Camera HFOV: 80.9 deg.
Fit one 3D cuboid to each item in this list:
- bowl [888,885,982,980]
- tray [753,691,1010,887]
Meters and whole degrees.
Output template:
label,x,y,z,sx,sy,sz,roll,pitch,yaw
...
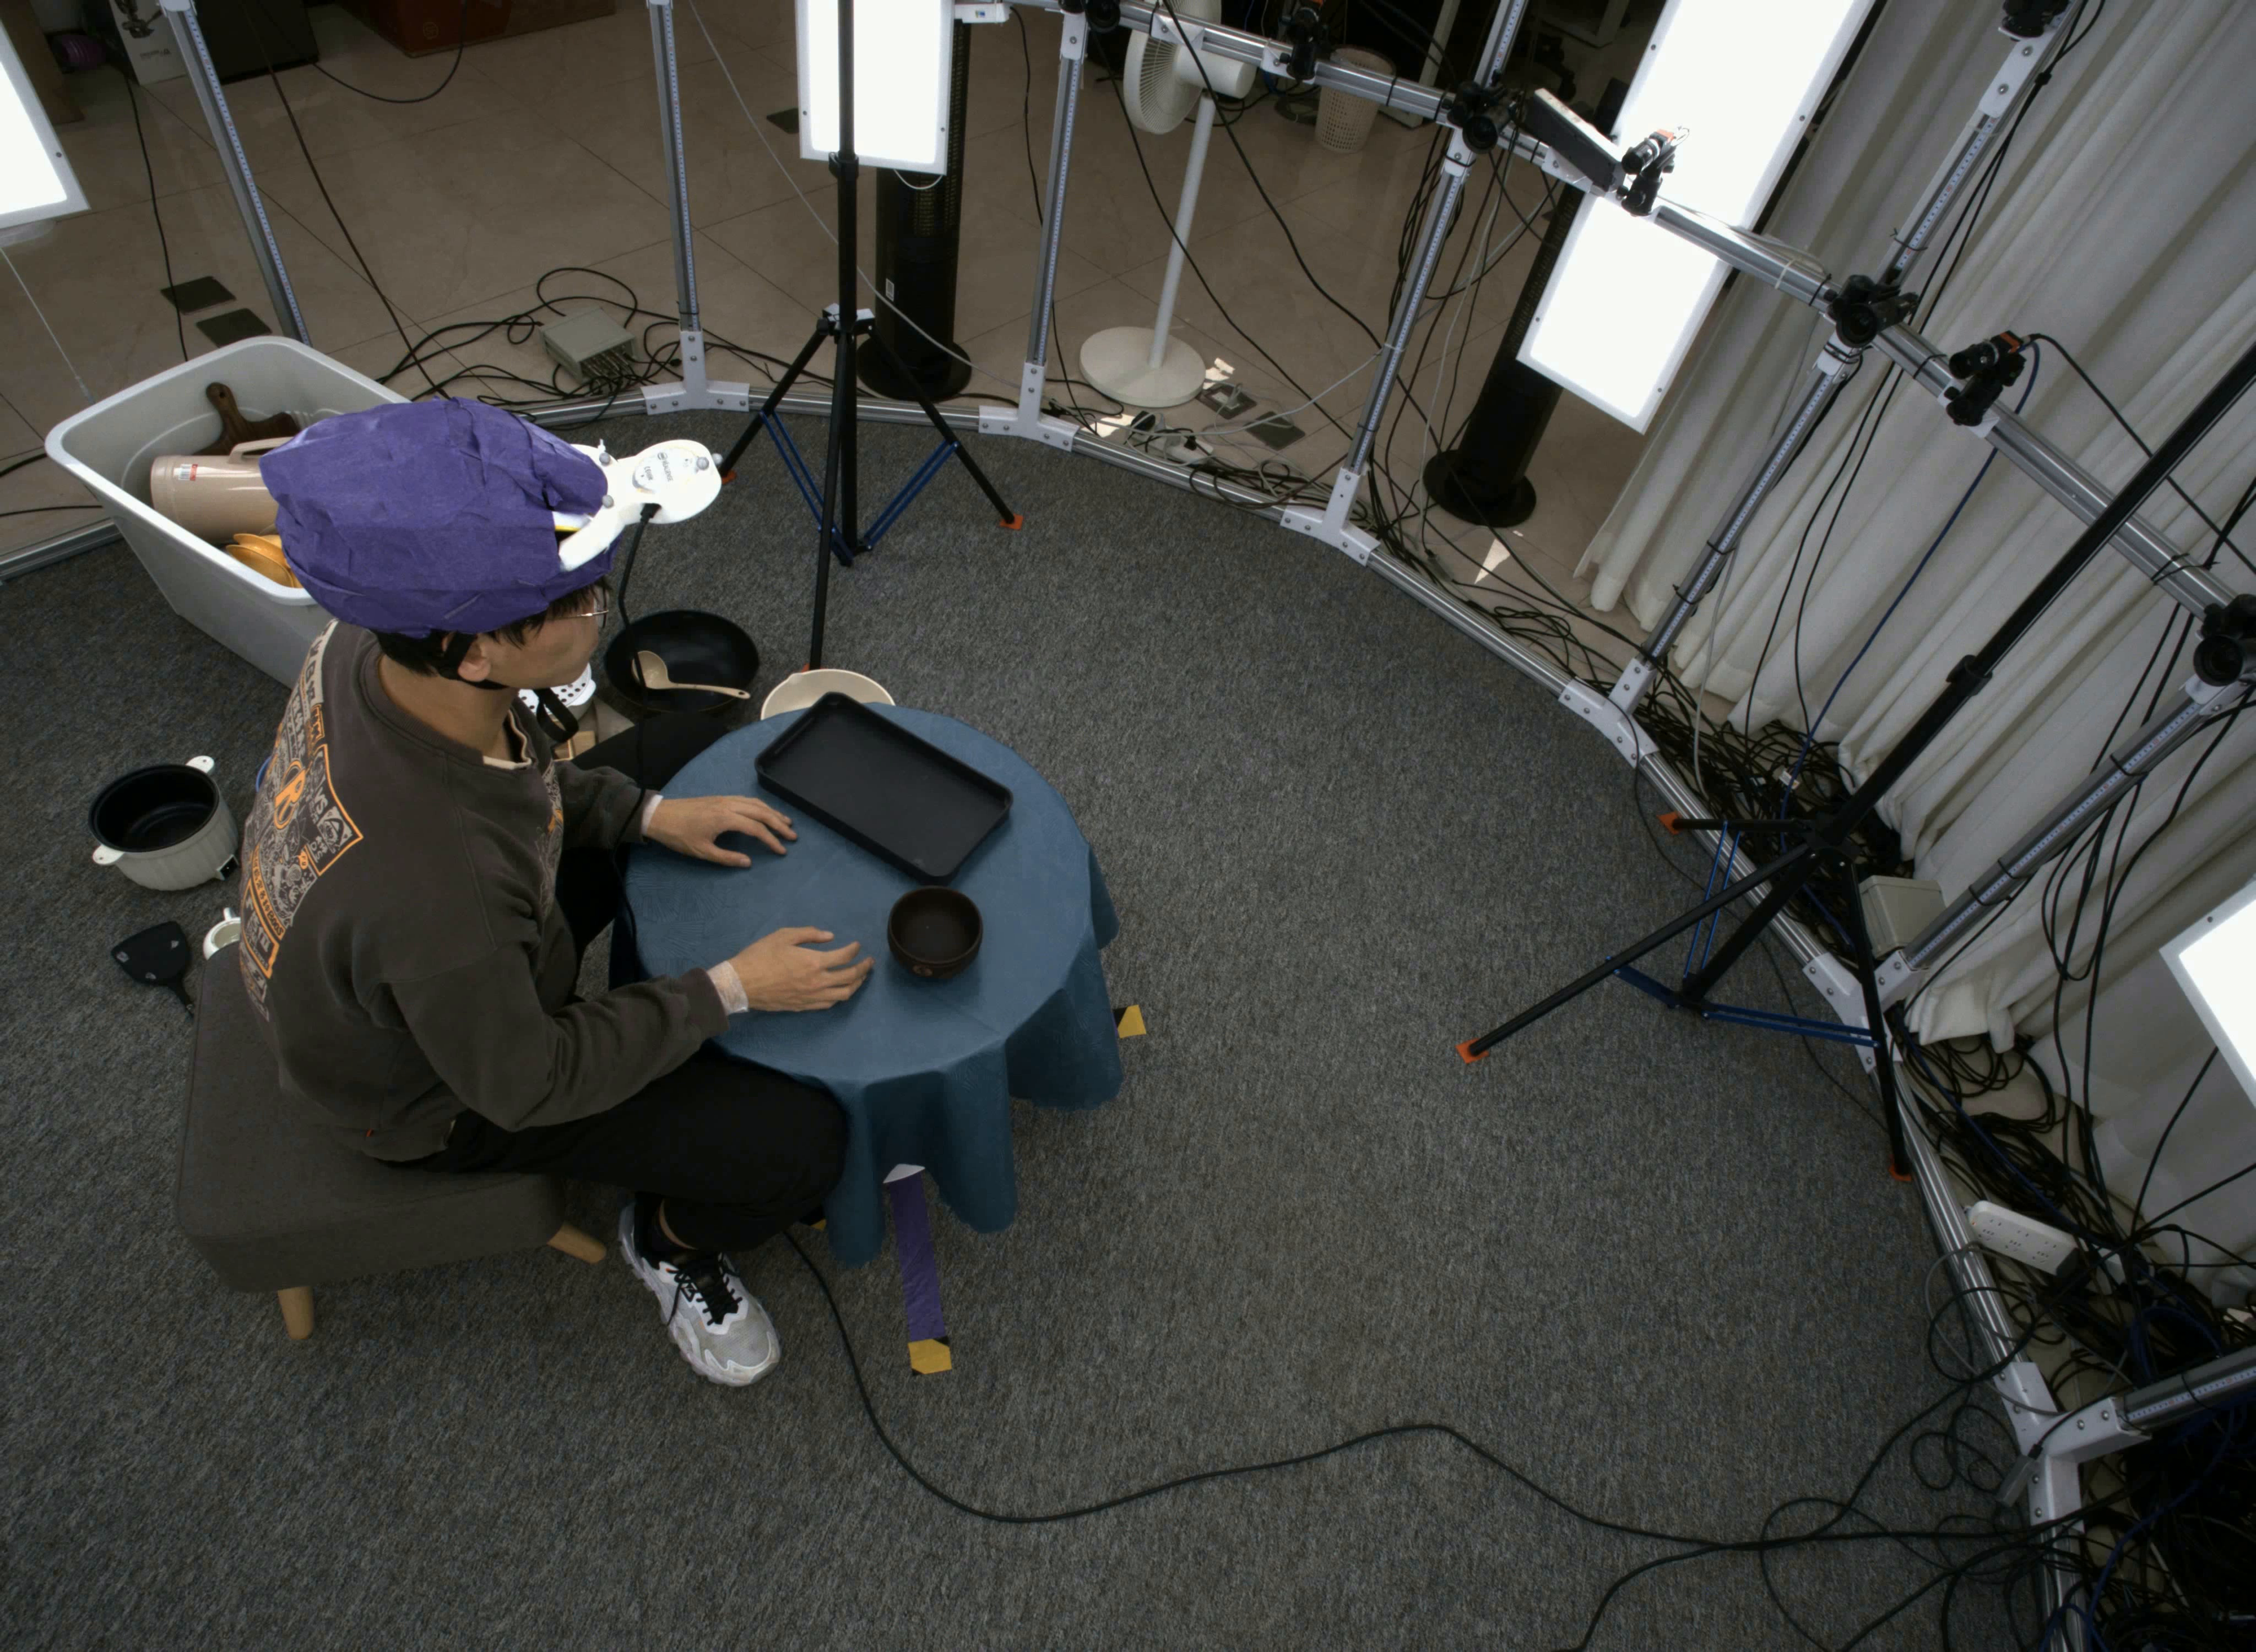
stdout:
label,x,y,z,sx,sy,sz,roll,pitch,yaw
bowl,-0.242,0.140,1.634,0.117,0.071,0.116,6,54,-7
tray,-0.335,-0.054,1.777,0.313,0.038,0.183,29,54,8
